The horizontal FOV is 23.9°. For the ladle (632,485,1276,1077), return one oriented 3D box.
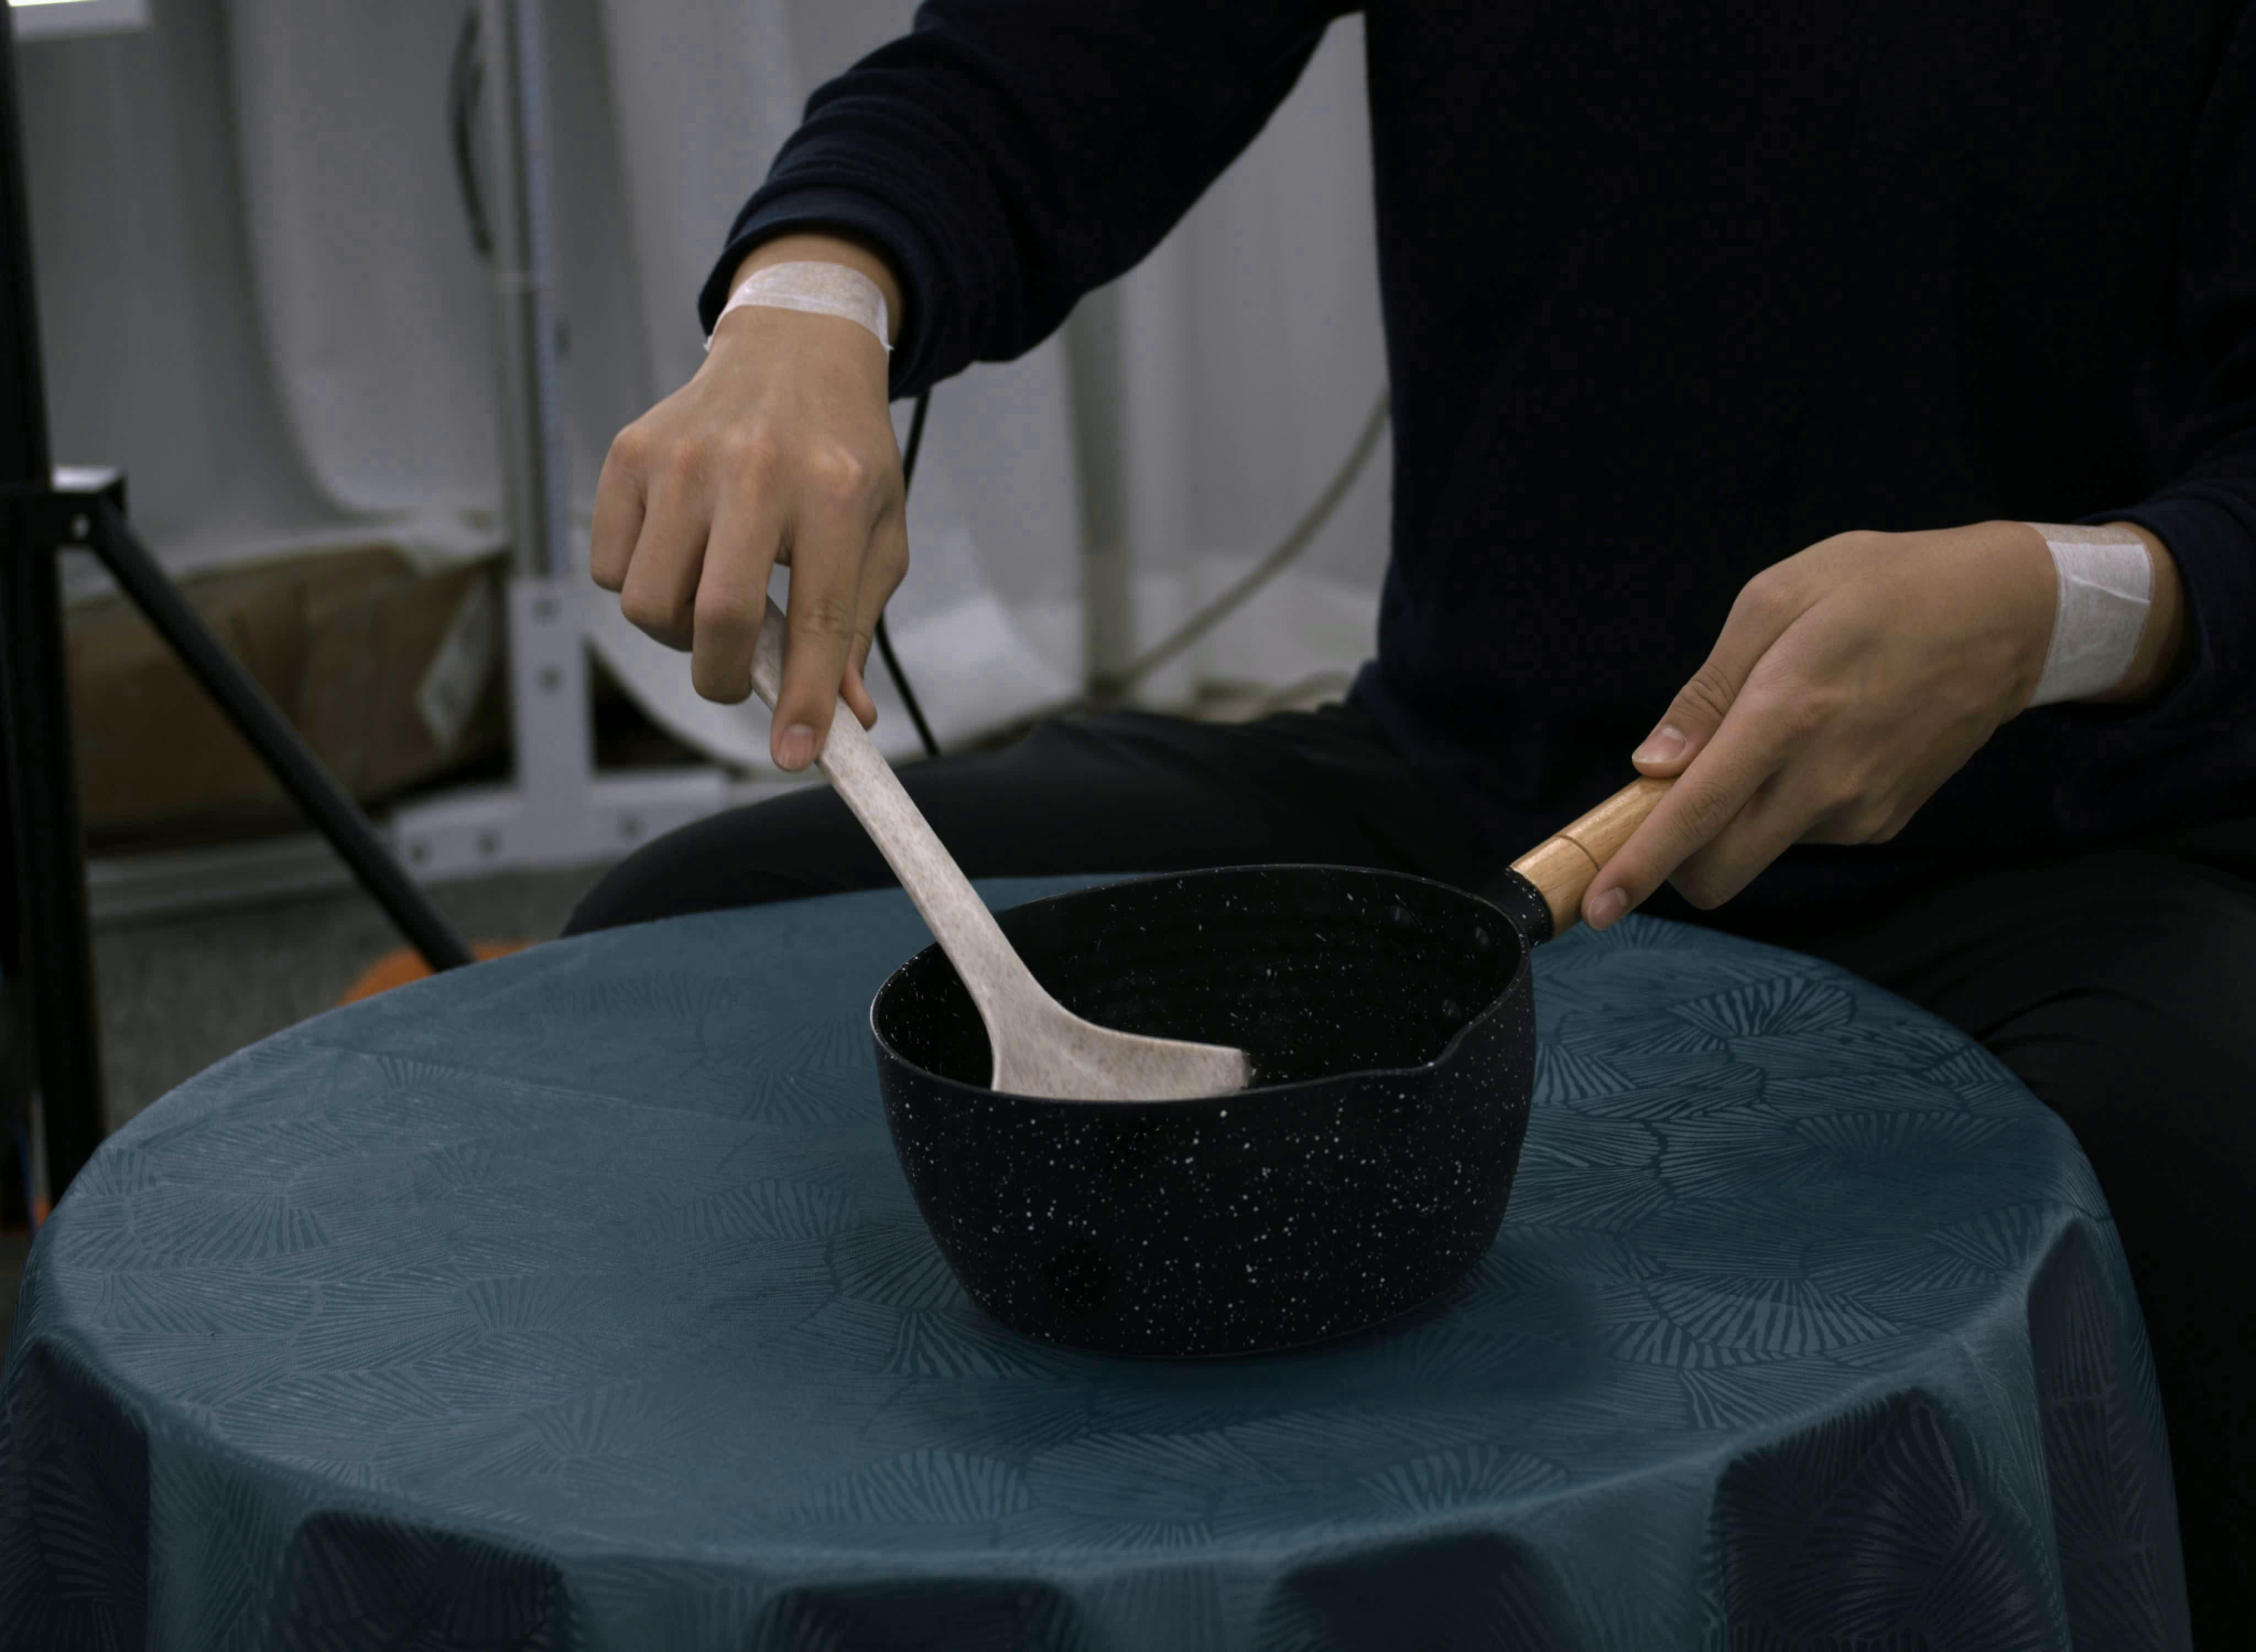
[{"bbox_3d":[-0.057,-0.011,1.517,0.087,0.070,0.279,-19,65,-35],"label":"ladle"}]

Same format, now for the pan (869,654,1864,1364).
[{"bbox_3d":[0.085,0.048,1.515,0.336,0.108,0.212,-21,22,-33],"label":"pan"}]
